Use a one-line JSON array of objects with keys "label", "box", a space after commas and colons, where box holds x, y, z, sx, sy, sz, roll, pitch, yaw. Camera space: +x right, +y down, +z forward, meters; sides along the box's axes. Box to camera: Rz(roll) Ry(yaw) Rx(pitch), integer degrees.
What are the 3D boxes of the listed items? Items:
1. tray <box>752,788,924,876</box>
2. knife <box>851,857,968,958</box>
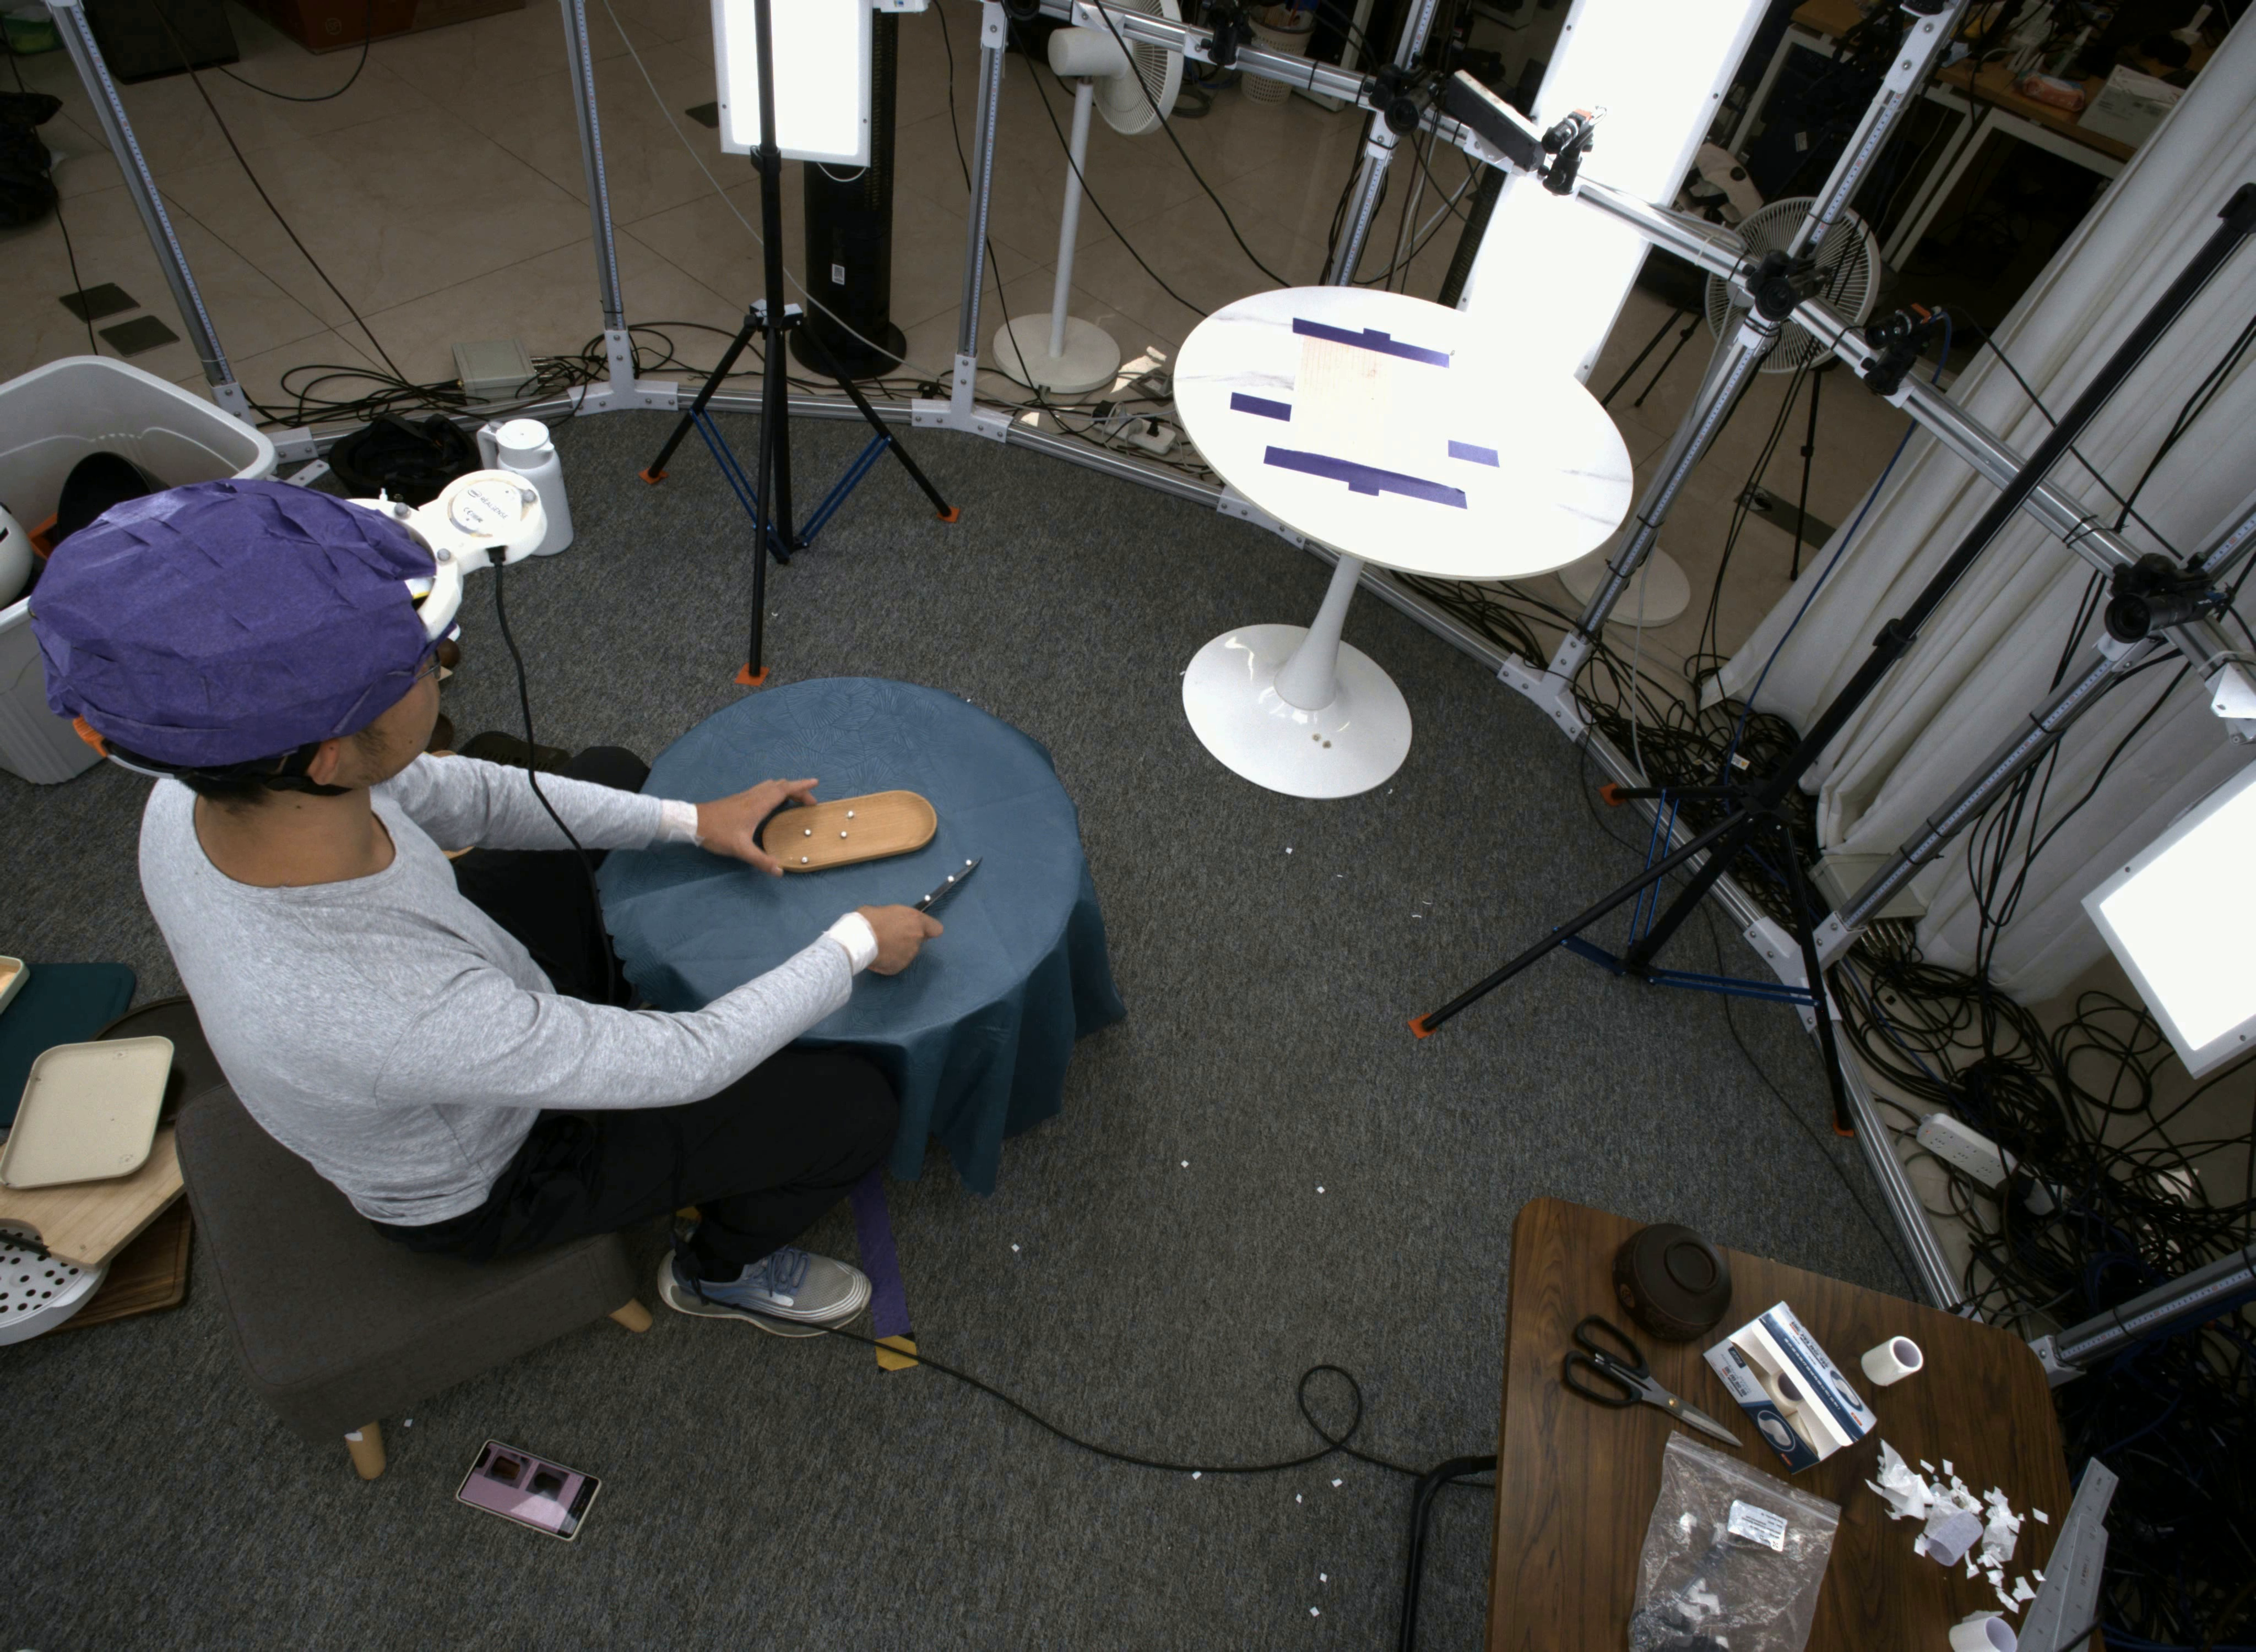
[{"label": "tray", "box": [-0.384, 0.006, 1.731, 0.232, 0.021, 0.099, -14, 59, -24]}, {"label": "knife", "box": [-0.274, 0.098, 1.675, 0.024, 0.017, 0.238, -5, 26, 37]}]
